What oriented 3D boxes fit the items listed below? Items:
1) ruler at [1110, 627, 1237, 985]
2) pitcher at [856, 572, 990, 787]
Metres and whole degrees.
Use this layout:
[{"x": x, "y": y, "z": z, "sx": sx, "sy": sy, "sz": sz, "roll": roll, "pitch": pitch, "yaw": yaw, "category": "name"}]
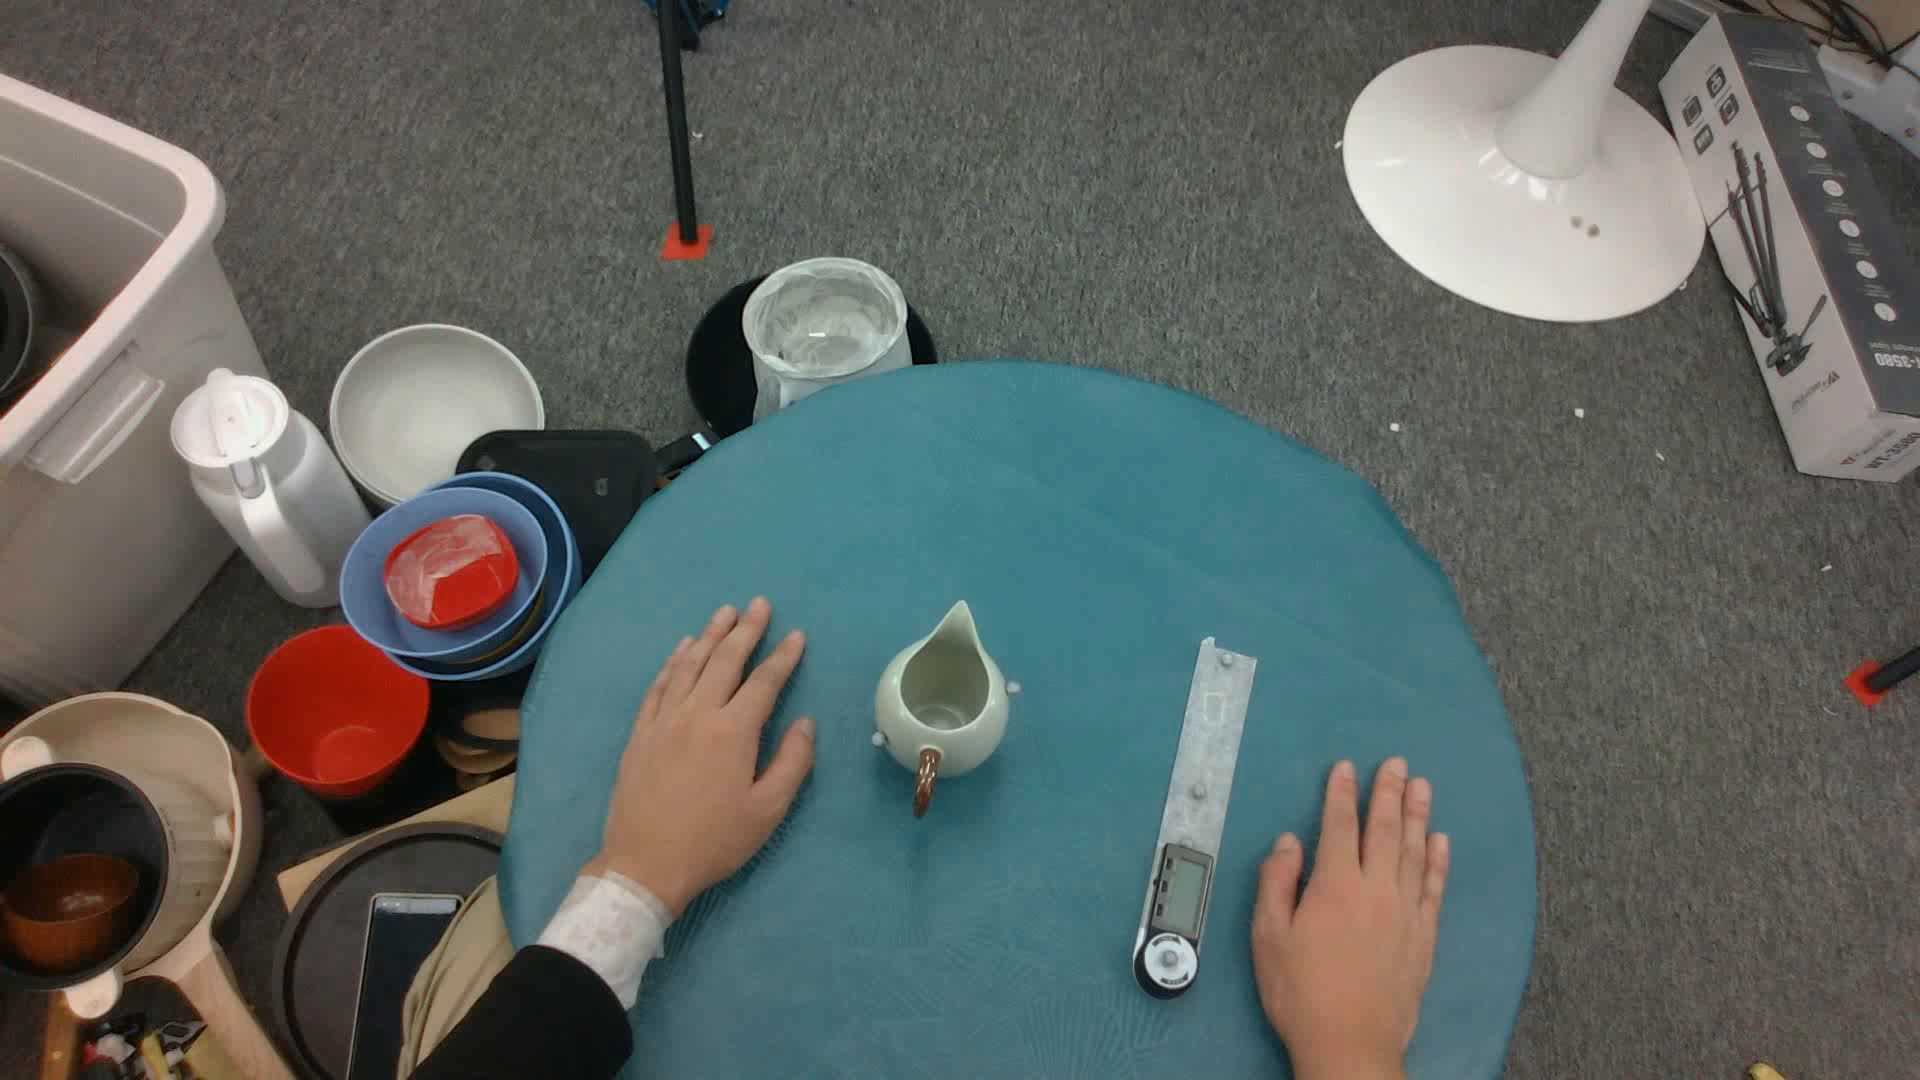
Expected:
[{"x": 0.128, "y": 0.148, "z": 0.800, "sx": 0.038, "sy": 0.024, "sz": 0.219, "roll": 20, "pitch": 62, "yaw": -3, "category": "ruler"}, {"x": -0.023, "y": 0.090, "z": 0.779, "sx": 0.076, "sy": 0.087, "sz": 0.120, "roll": 13, "pitch": 59, "yaw": 5, "category": "pitcher"}]
